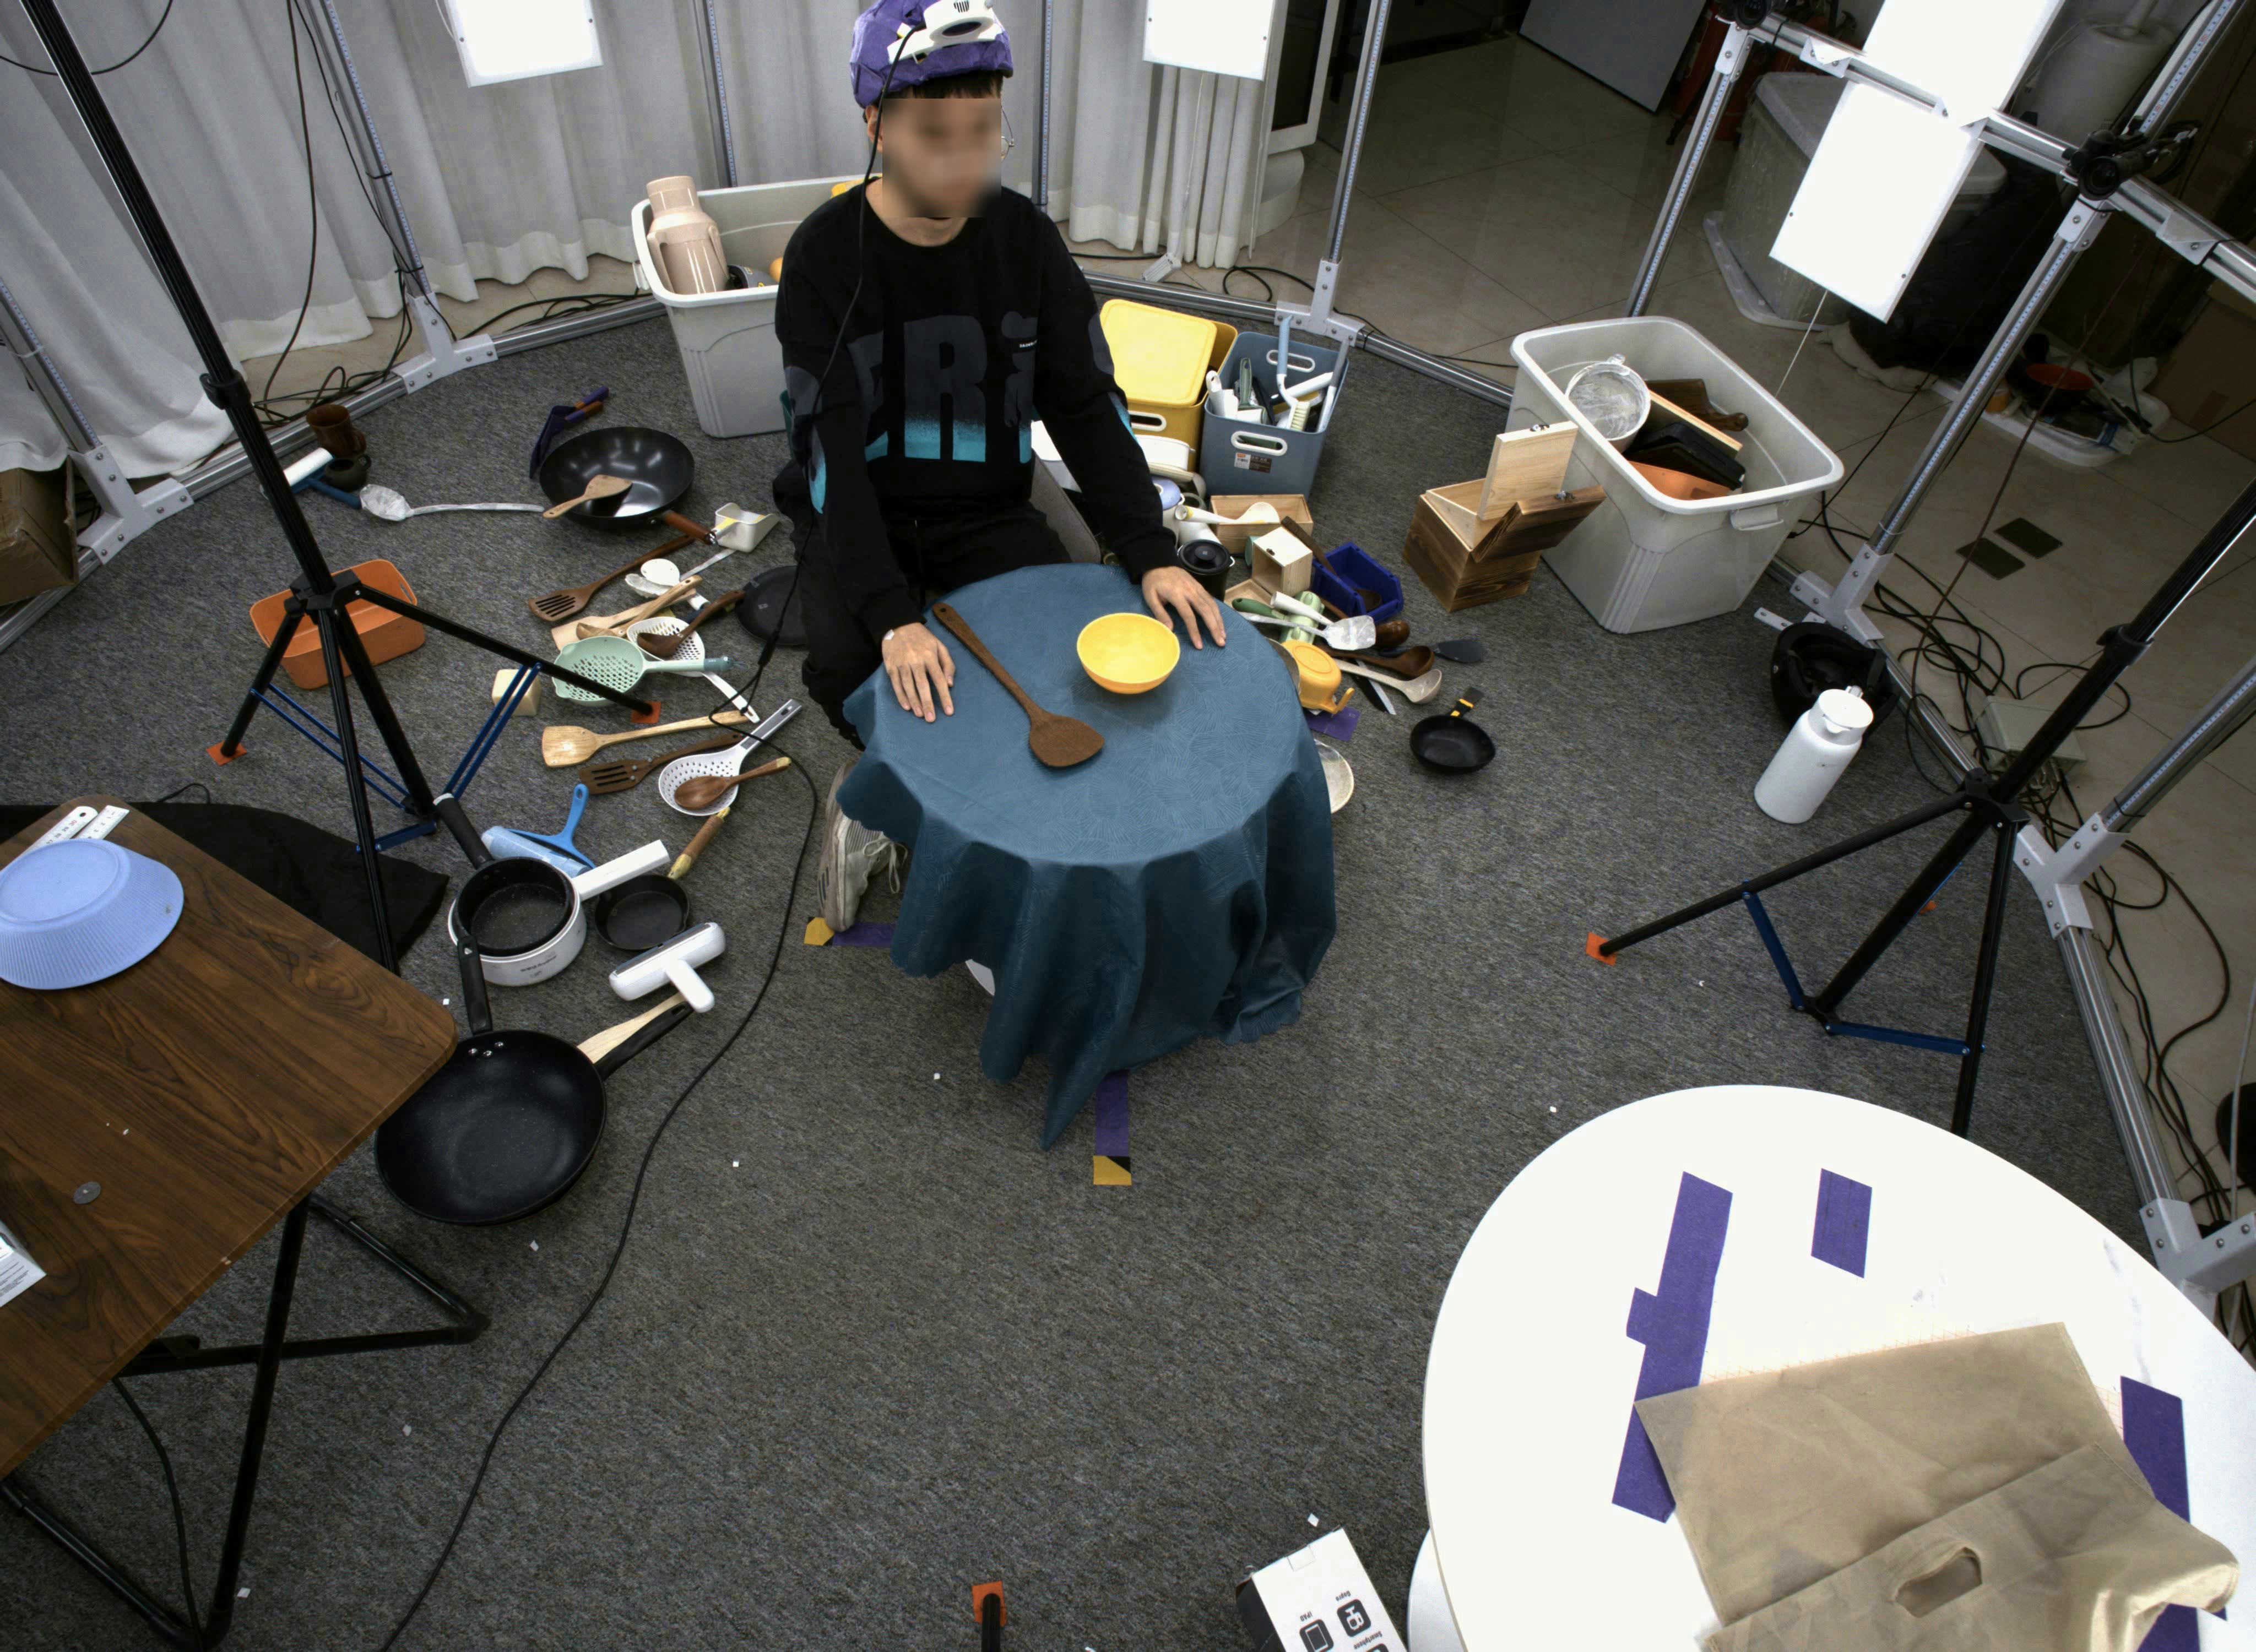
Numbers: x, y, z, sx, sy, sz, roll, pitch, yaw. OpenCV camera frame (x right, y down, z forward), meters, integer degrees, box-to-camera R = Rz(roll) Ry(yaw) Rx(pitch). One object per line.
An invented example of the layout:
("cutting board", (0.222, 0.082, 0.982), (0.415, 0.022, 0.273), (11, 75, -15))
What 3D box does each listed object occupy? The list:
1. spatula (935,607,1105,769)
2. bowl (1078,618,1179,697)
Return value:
("spatula", (-0.173, -0.209, 1.846), (0.096, 0.015, 0.393), (-26, 55, -25))
("bowl", (-0.002, -0.231, 1.850), (0.145, 0.058, 0.149), (3, 47, -4))
